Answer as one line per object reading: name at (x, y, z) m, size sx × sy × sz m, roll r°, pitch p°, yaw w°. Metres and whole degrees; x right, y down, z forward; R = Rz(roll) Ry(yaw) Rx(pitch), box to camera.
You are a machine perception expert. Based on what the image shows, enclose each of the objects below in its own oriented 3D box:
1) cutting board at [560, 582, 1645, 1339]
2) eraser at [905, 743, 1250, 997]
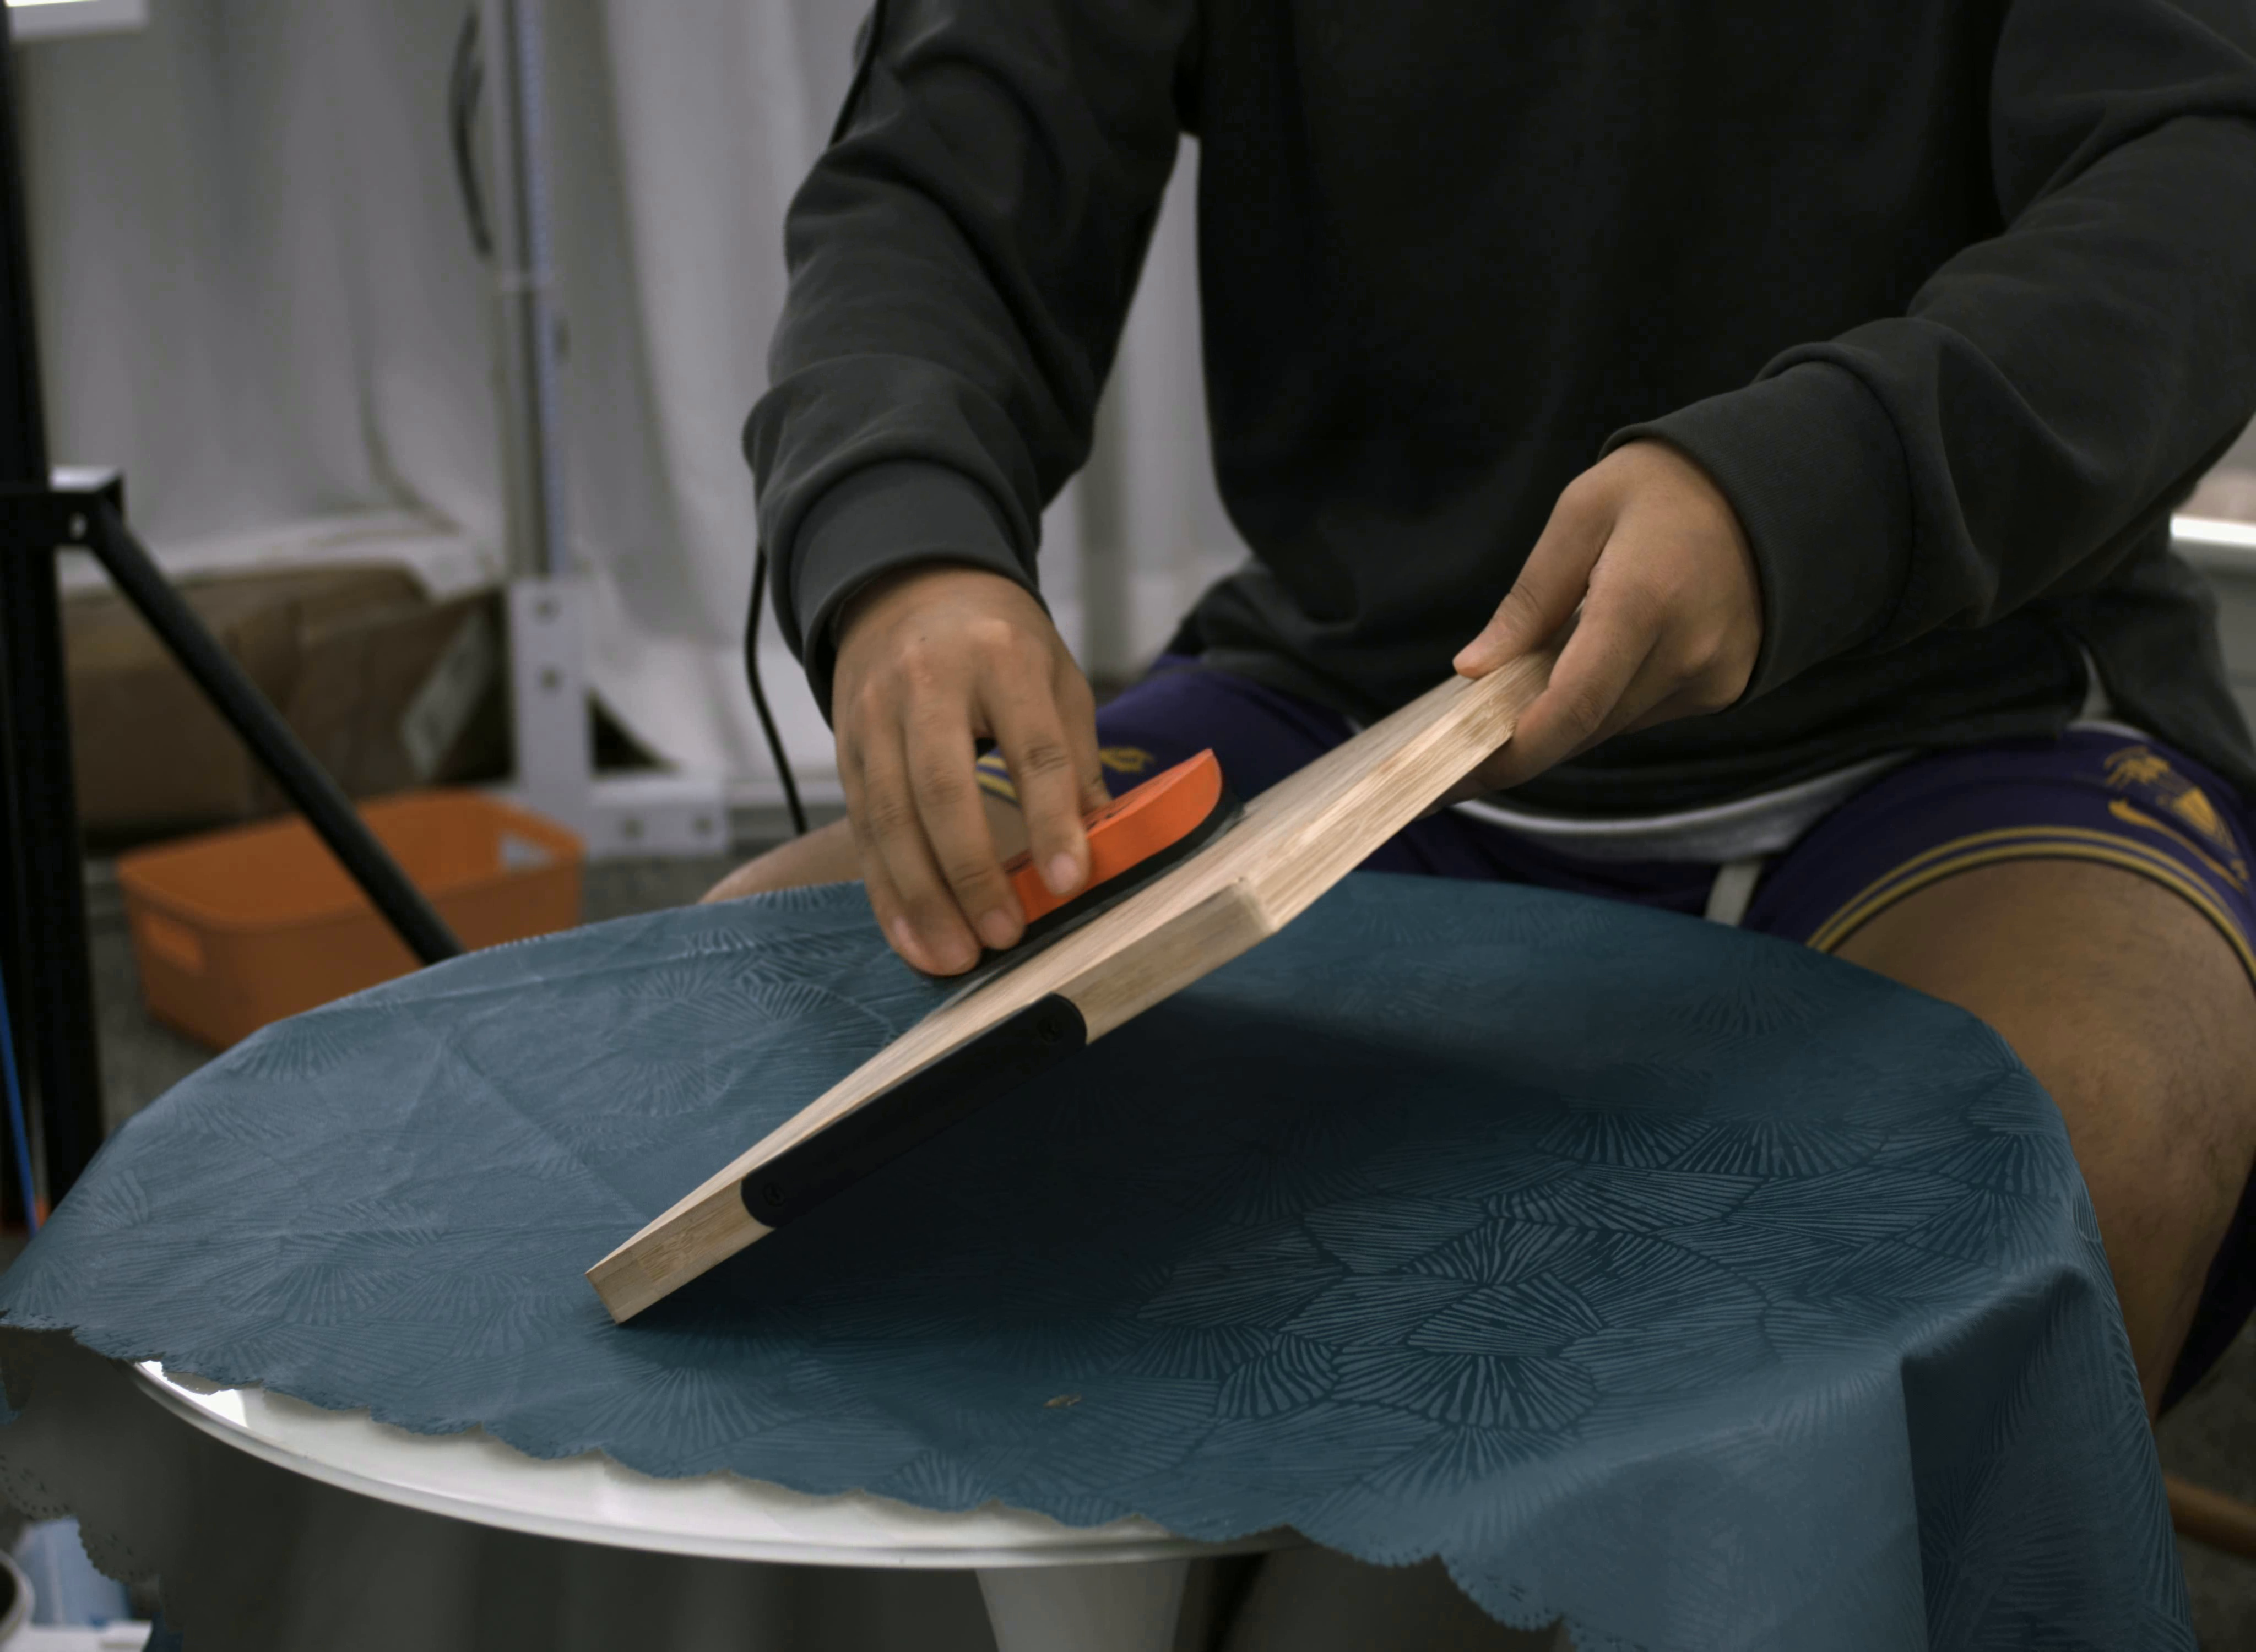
cutting board at (0.004, 0.033, 1.561) m, size 0.253 × 0.023 × 0.344 m, roll -32°, pitch 2°, yaw 27°
eraser at (-0.015, 0.014, 1.646) m, size 0.109 × 0.023 × 0.058 m, roll -29°, pitch 8°, yaw 26°
